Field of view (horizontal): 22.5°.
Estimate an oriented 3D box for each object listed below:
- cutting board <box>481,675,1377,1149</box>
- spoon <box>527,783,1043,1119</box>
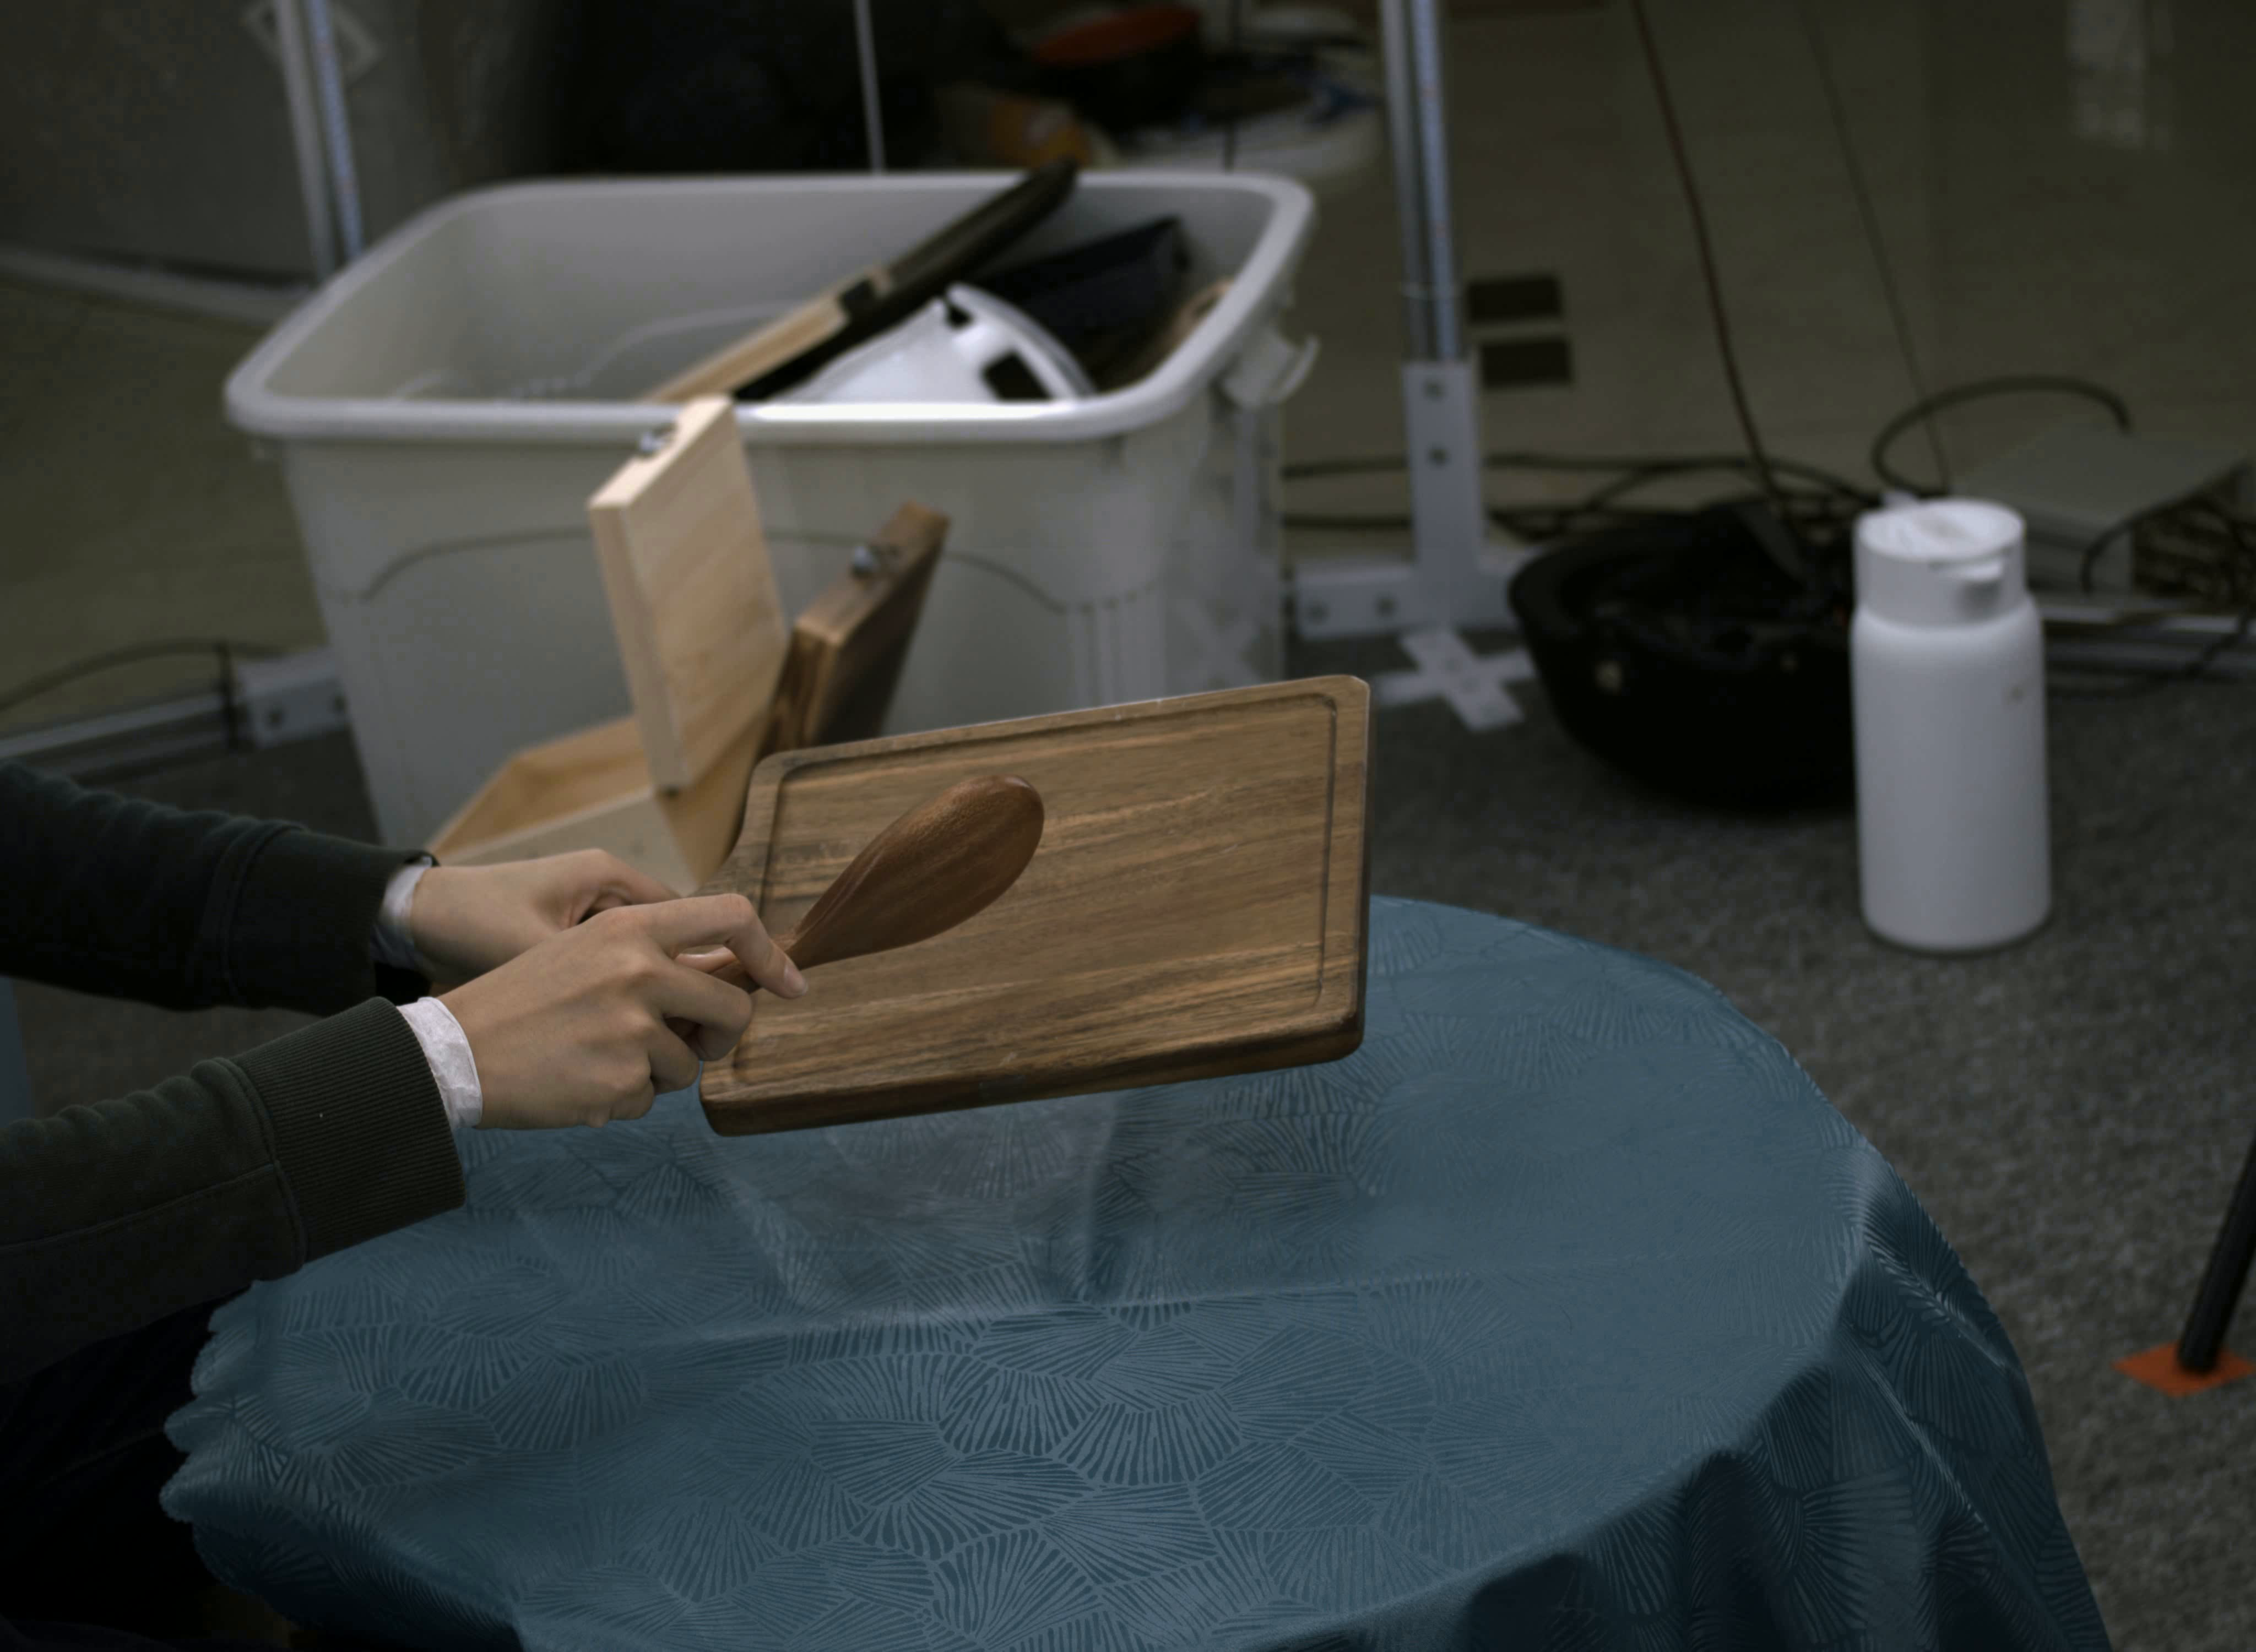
[{"bbox_3d":[-0.078,0.037,2.159,0.352,0.023,0.197,-8,44,12],"label":"cutting board"},{"bbox_3d":[-0.119,0.047,2.032,0.215,0.077,0.017,-29,63,-15],"label":"spoon"}]
